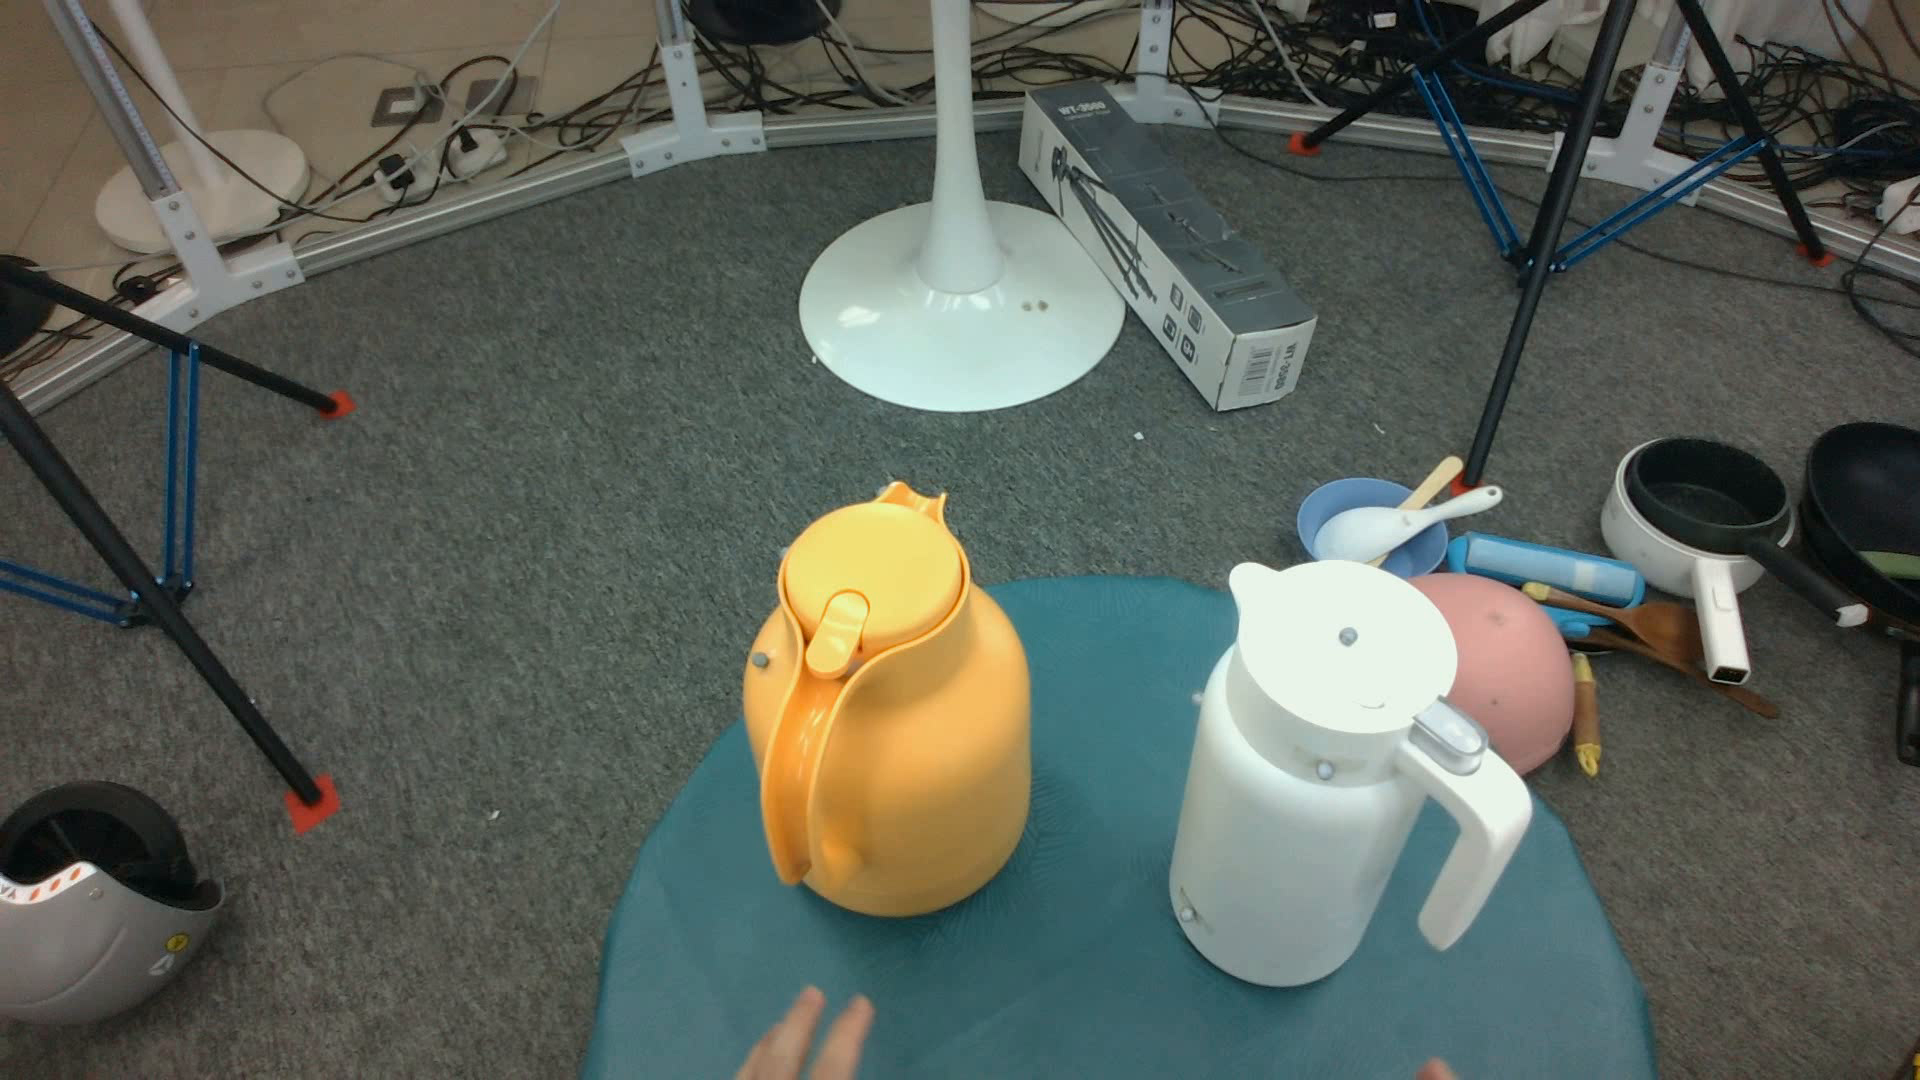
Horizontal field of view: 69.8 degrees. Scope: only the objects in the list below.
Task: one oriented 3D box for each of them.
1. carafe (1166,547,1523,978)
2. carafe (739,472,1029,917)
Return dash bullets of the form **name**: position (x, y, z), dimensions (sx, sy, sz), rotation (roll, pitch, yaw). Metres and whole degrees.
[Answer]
- **carafe**: position (0.192, 0.137, 0.728), dimensions (0.124, 0.267, 0.173), rotation (-32, 56, -26)
- **carafe**: position (-0.051, 0.102, 0.764), dimensions (0.163, 0.259, 0.203), rotation (15, 49, 17)
